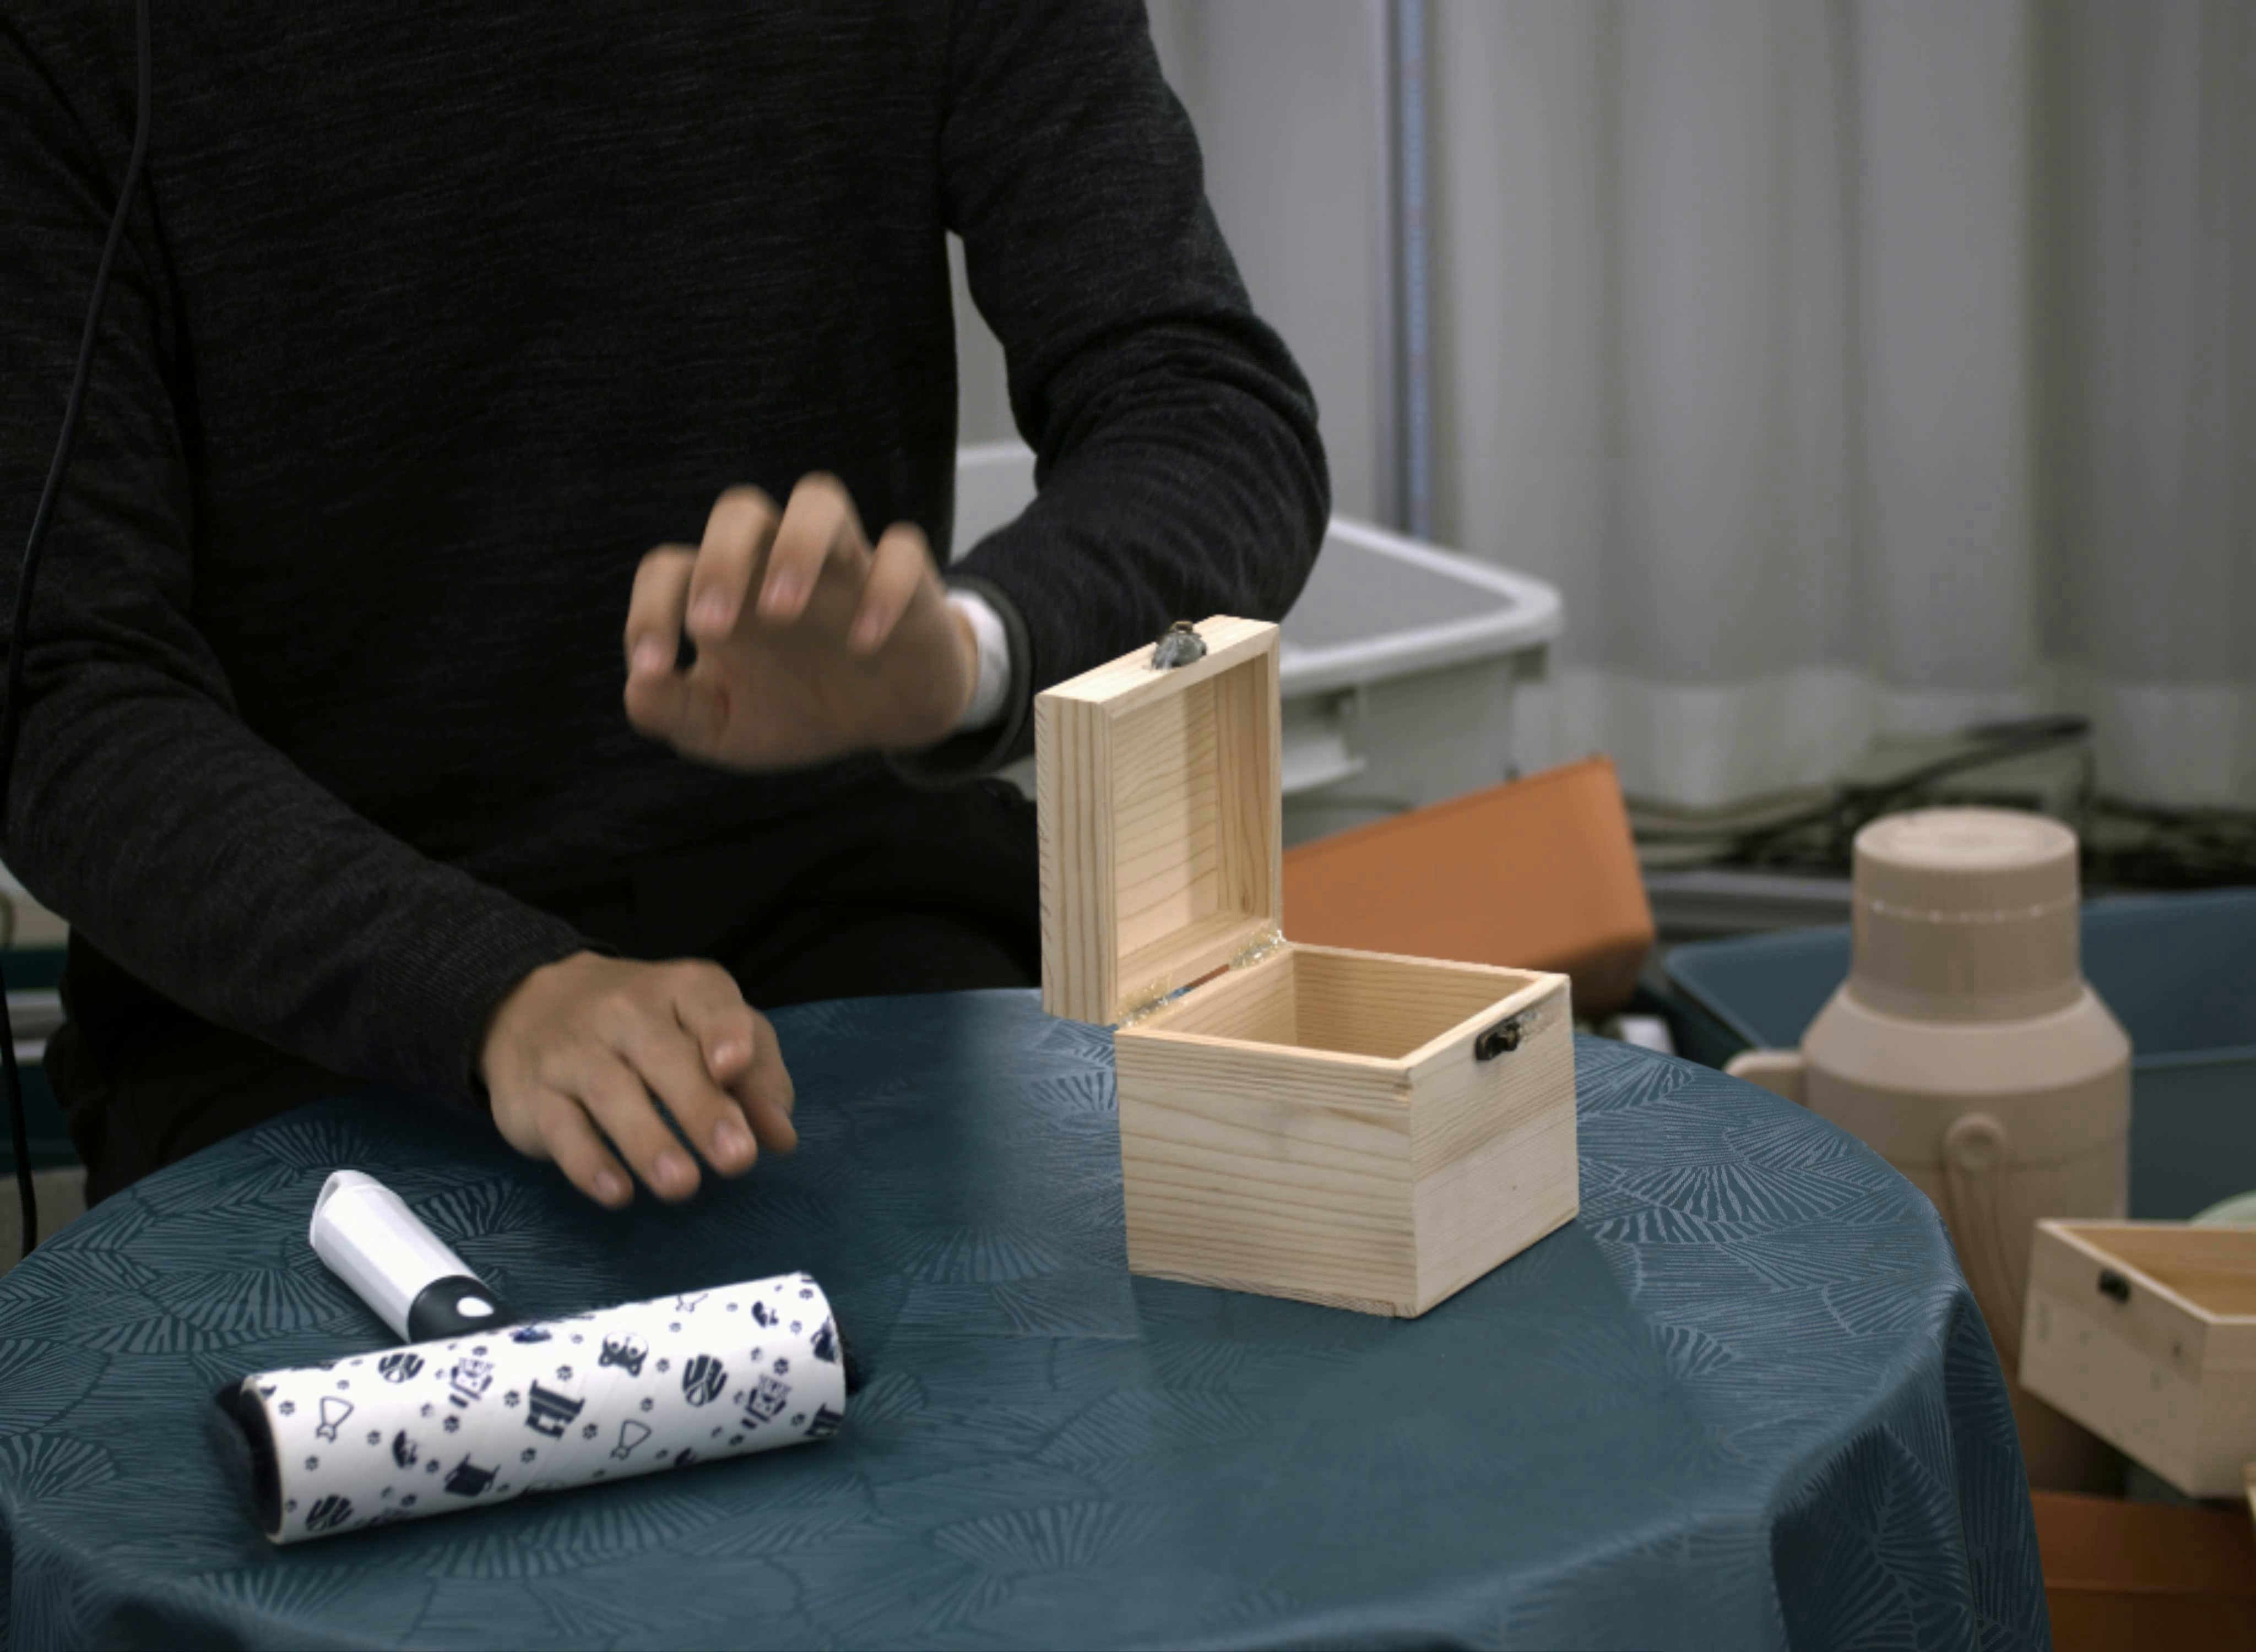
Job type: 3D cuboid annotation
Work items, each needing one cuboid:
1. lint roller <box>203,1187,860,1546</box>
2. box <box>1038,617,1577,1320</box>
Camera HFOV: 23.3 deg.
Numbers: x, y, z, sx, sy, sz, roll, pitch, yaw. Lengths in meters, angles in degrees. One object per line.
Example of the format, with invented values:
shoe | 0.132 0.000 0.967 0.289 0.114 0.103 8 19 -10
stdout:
lint roller | -0.200 0.138 1.582 0.175 0.050 0.249 -10 15 -21
box | 0.056 0.039 1.637 0.134 0.184 0.102 5 15 32
